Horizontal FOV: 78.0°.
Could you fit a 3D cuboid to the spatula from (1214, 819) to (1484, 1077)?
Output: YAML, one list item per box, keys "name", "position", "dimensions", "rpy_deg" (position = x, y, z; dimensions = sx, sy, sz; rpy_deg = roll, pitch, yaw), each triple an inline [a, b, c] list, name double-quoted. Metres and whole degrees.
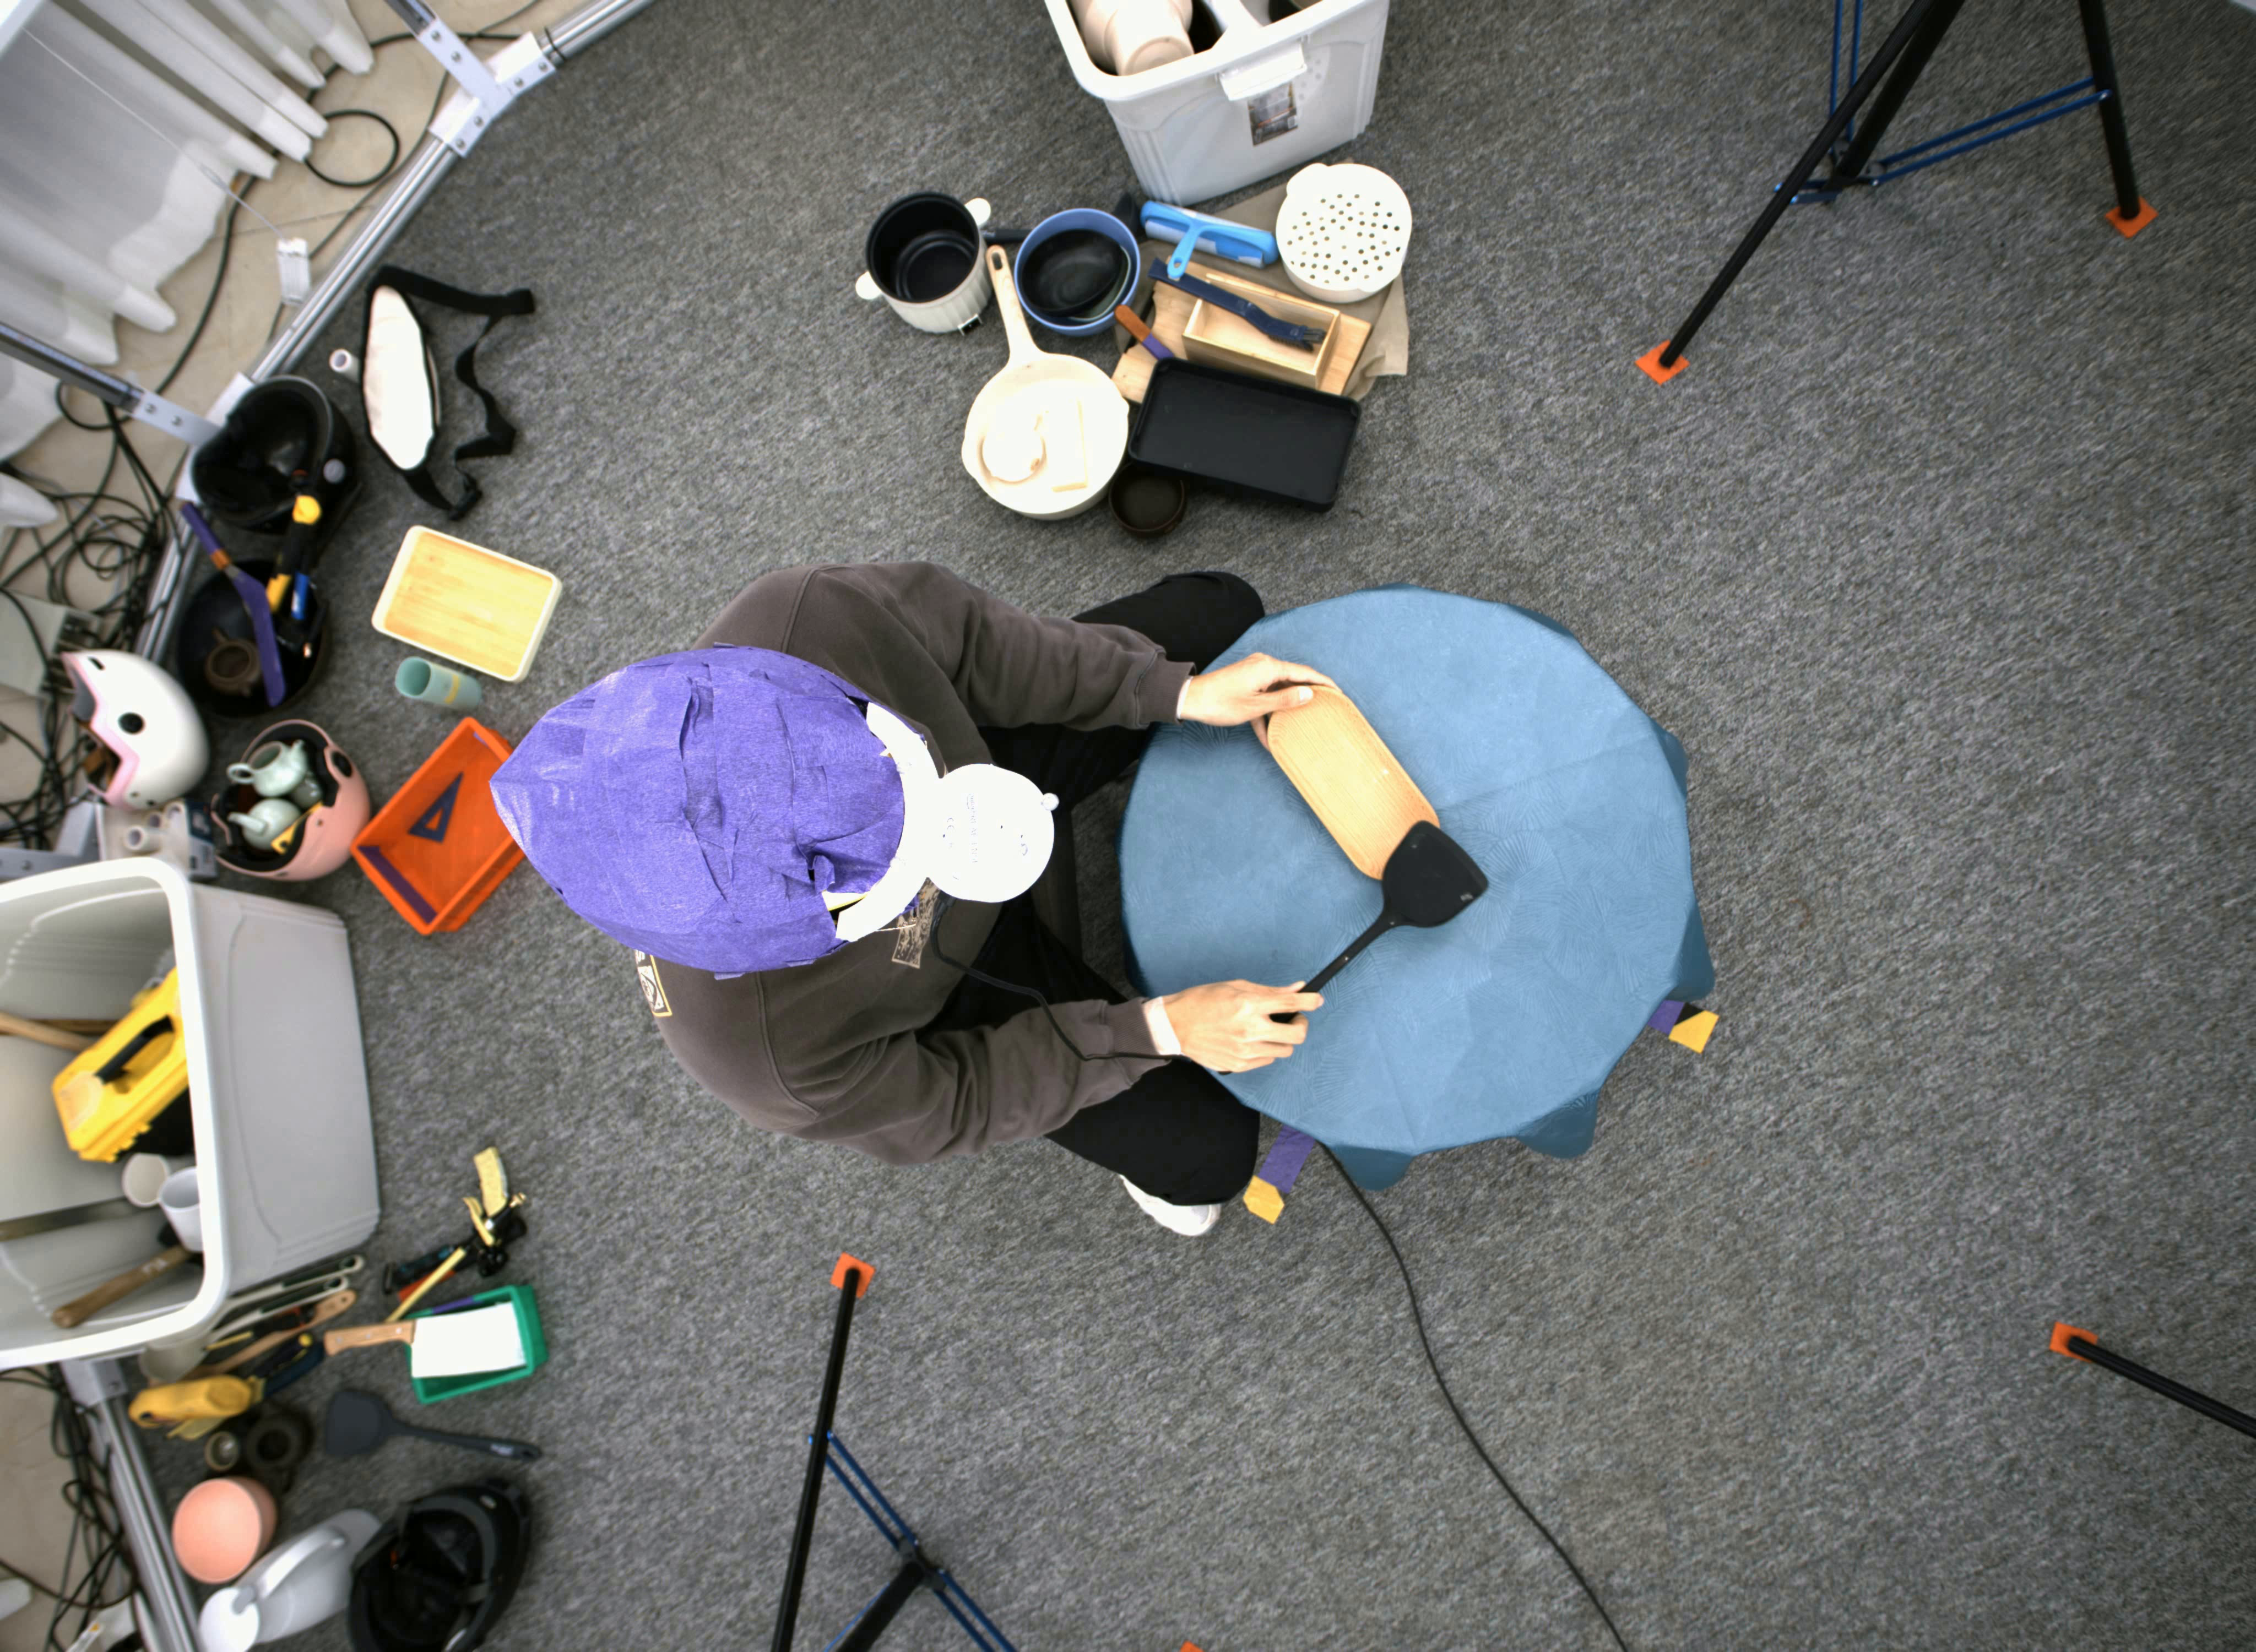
- name: "spatula"
  position: [0.204, 0.131, 1.361]
  dimensions: [0.325, 0.041, 0.099]
  rpy_deg: [-42, 68, -2]

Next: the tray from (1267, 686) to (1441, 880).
- name: "tray"
  position: [0.236, -0.045, 1.445]
  dimensions: [0.102, 0.020, 0.231]
  rpy_deg: [-37, 91, 9]
